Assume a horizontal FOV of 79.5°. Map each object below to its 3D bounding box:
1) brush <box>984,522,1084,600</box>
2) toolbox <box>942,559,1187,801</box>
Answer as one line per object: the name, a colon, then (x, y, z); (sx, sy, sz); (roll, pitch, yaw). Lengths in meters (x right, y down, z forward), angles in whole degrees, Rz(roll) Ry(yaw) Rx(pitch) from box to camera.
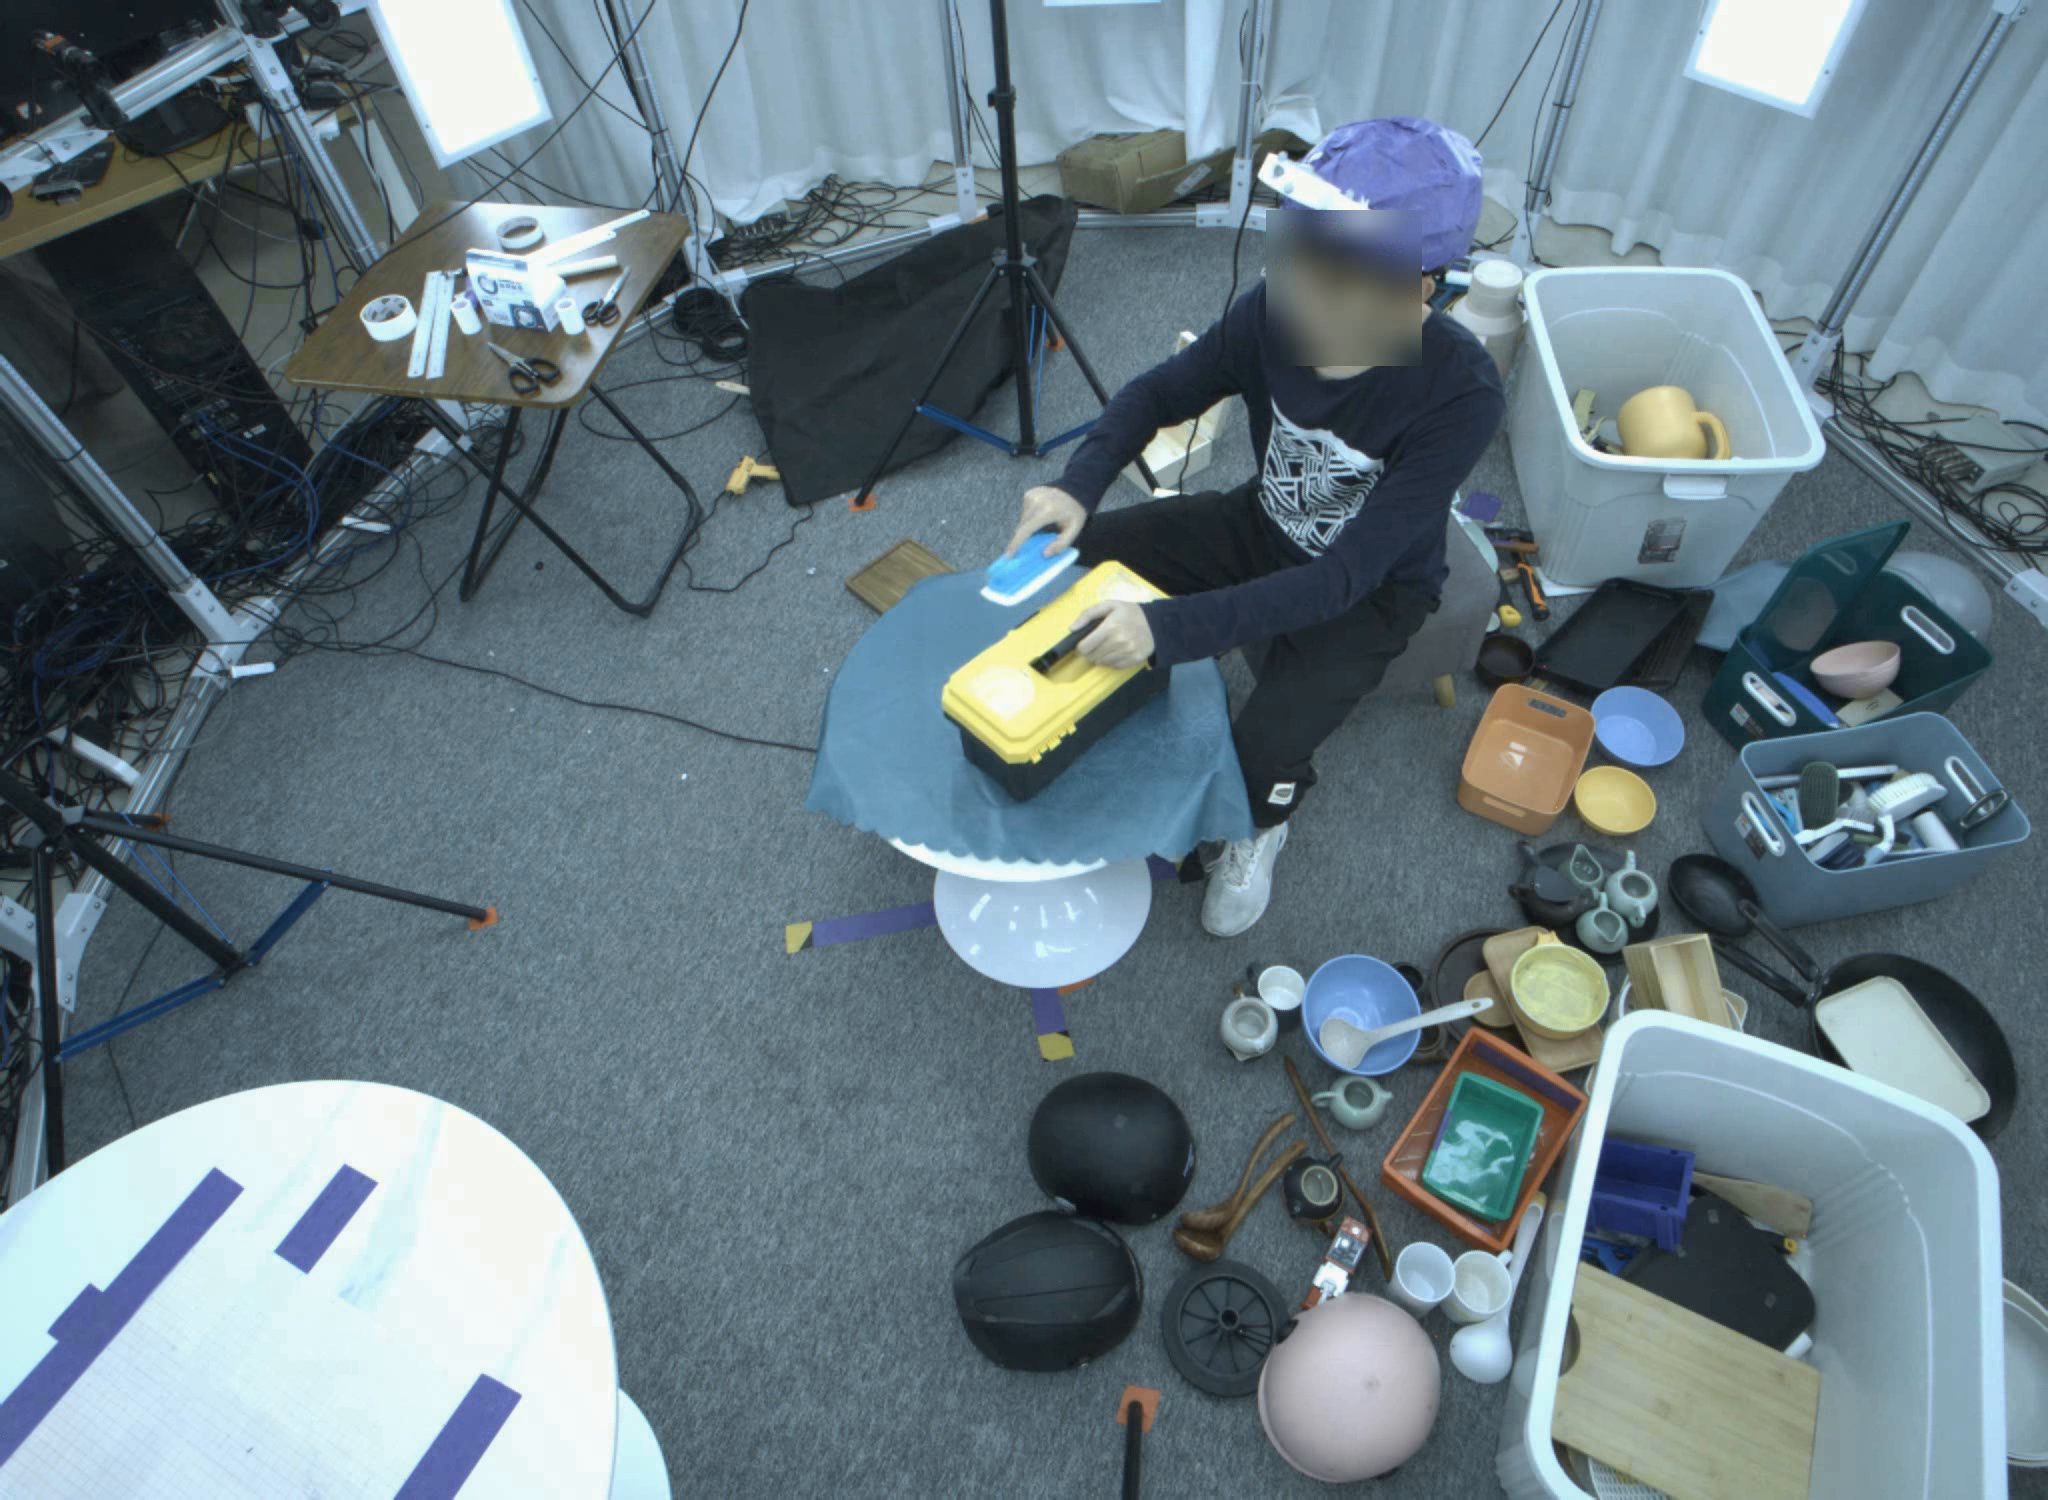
brush: (0.010, -0.272, 1.724); (0.145, 0.057, 0.082); (-41, 44, -18)
toolbox: (0.061, -0.100, 1.741); (0.354, 0.175, 0.178); (-39, 62, -23)
